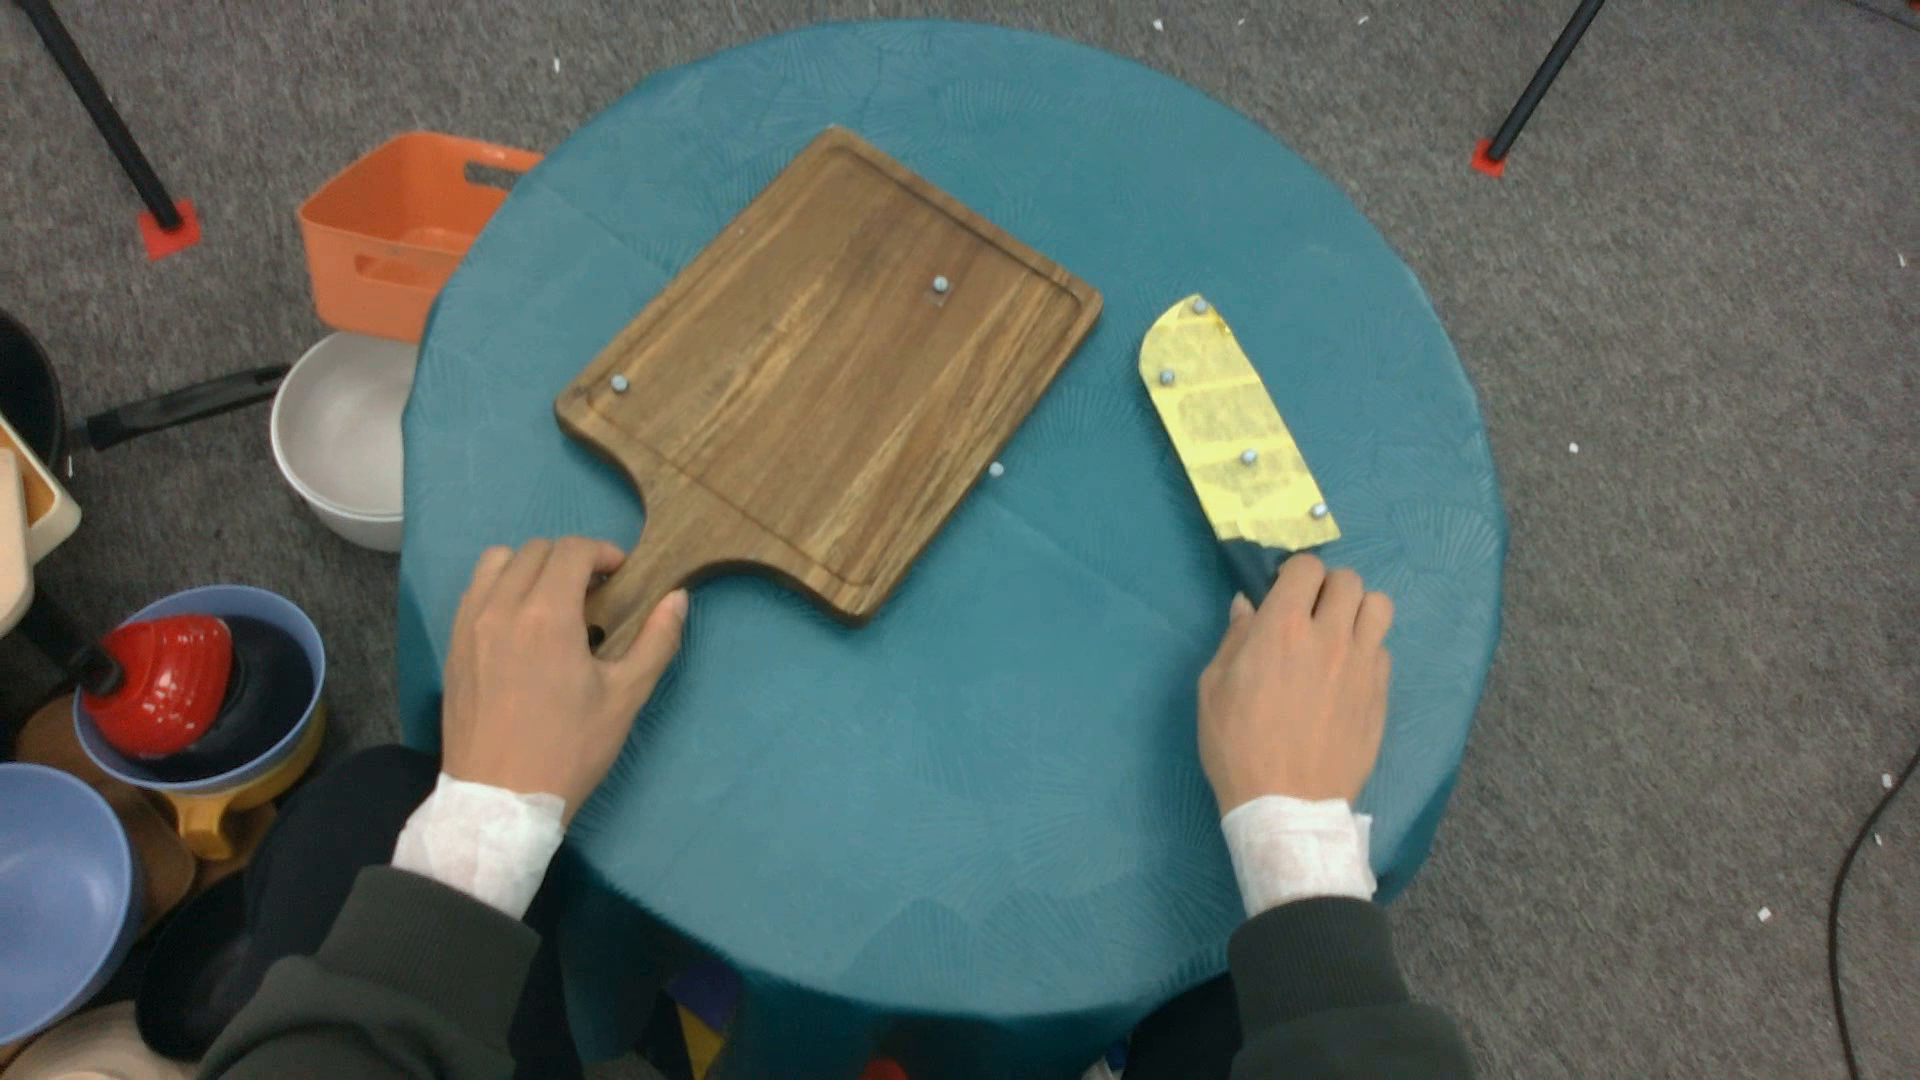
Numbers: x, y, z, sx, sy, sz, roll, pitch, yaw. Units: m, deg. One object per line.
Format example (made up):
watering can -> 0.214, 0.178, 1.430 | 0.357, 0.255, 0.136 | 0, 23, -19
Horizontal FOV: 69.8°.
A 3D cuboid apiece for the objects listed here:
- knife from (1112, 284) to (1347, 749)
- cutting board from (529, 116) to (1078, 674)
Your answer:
knife -> 0.153, -0.024, 0.750 | 0.081, 0.027, 0.290 | -10, 65, -19
cutting board -> -0.101, -0.072, 0.723 | 0.201, 0.023, 0.354 | 32, 62, 6
